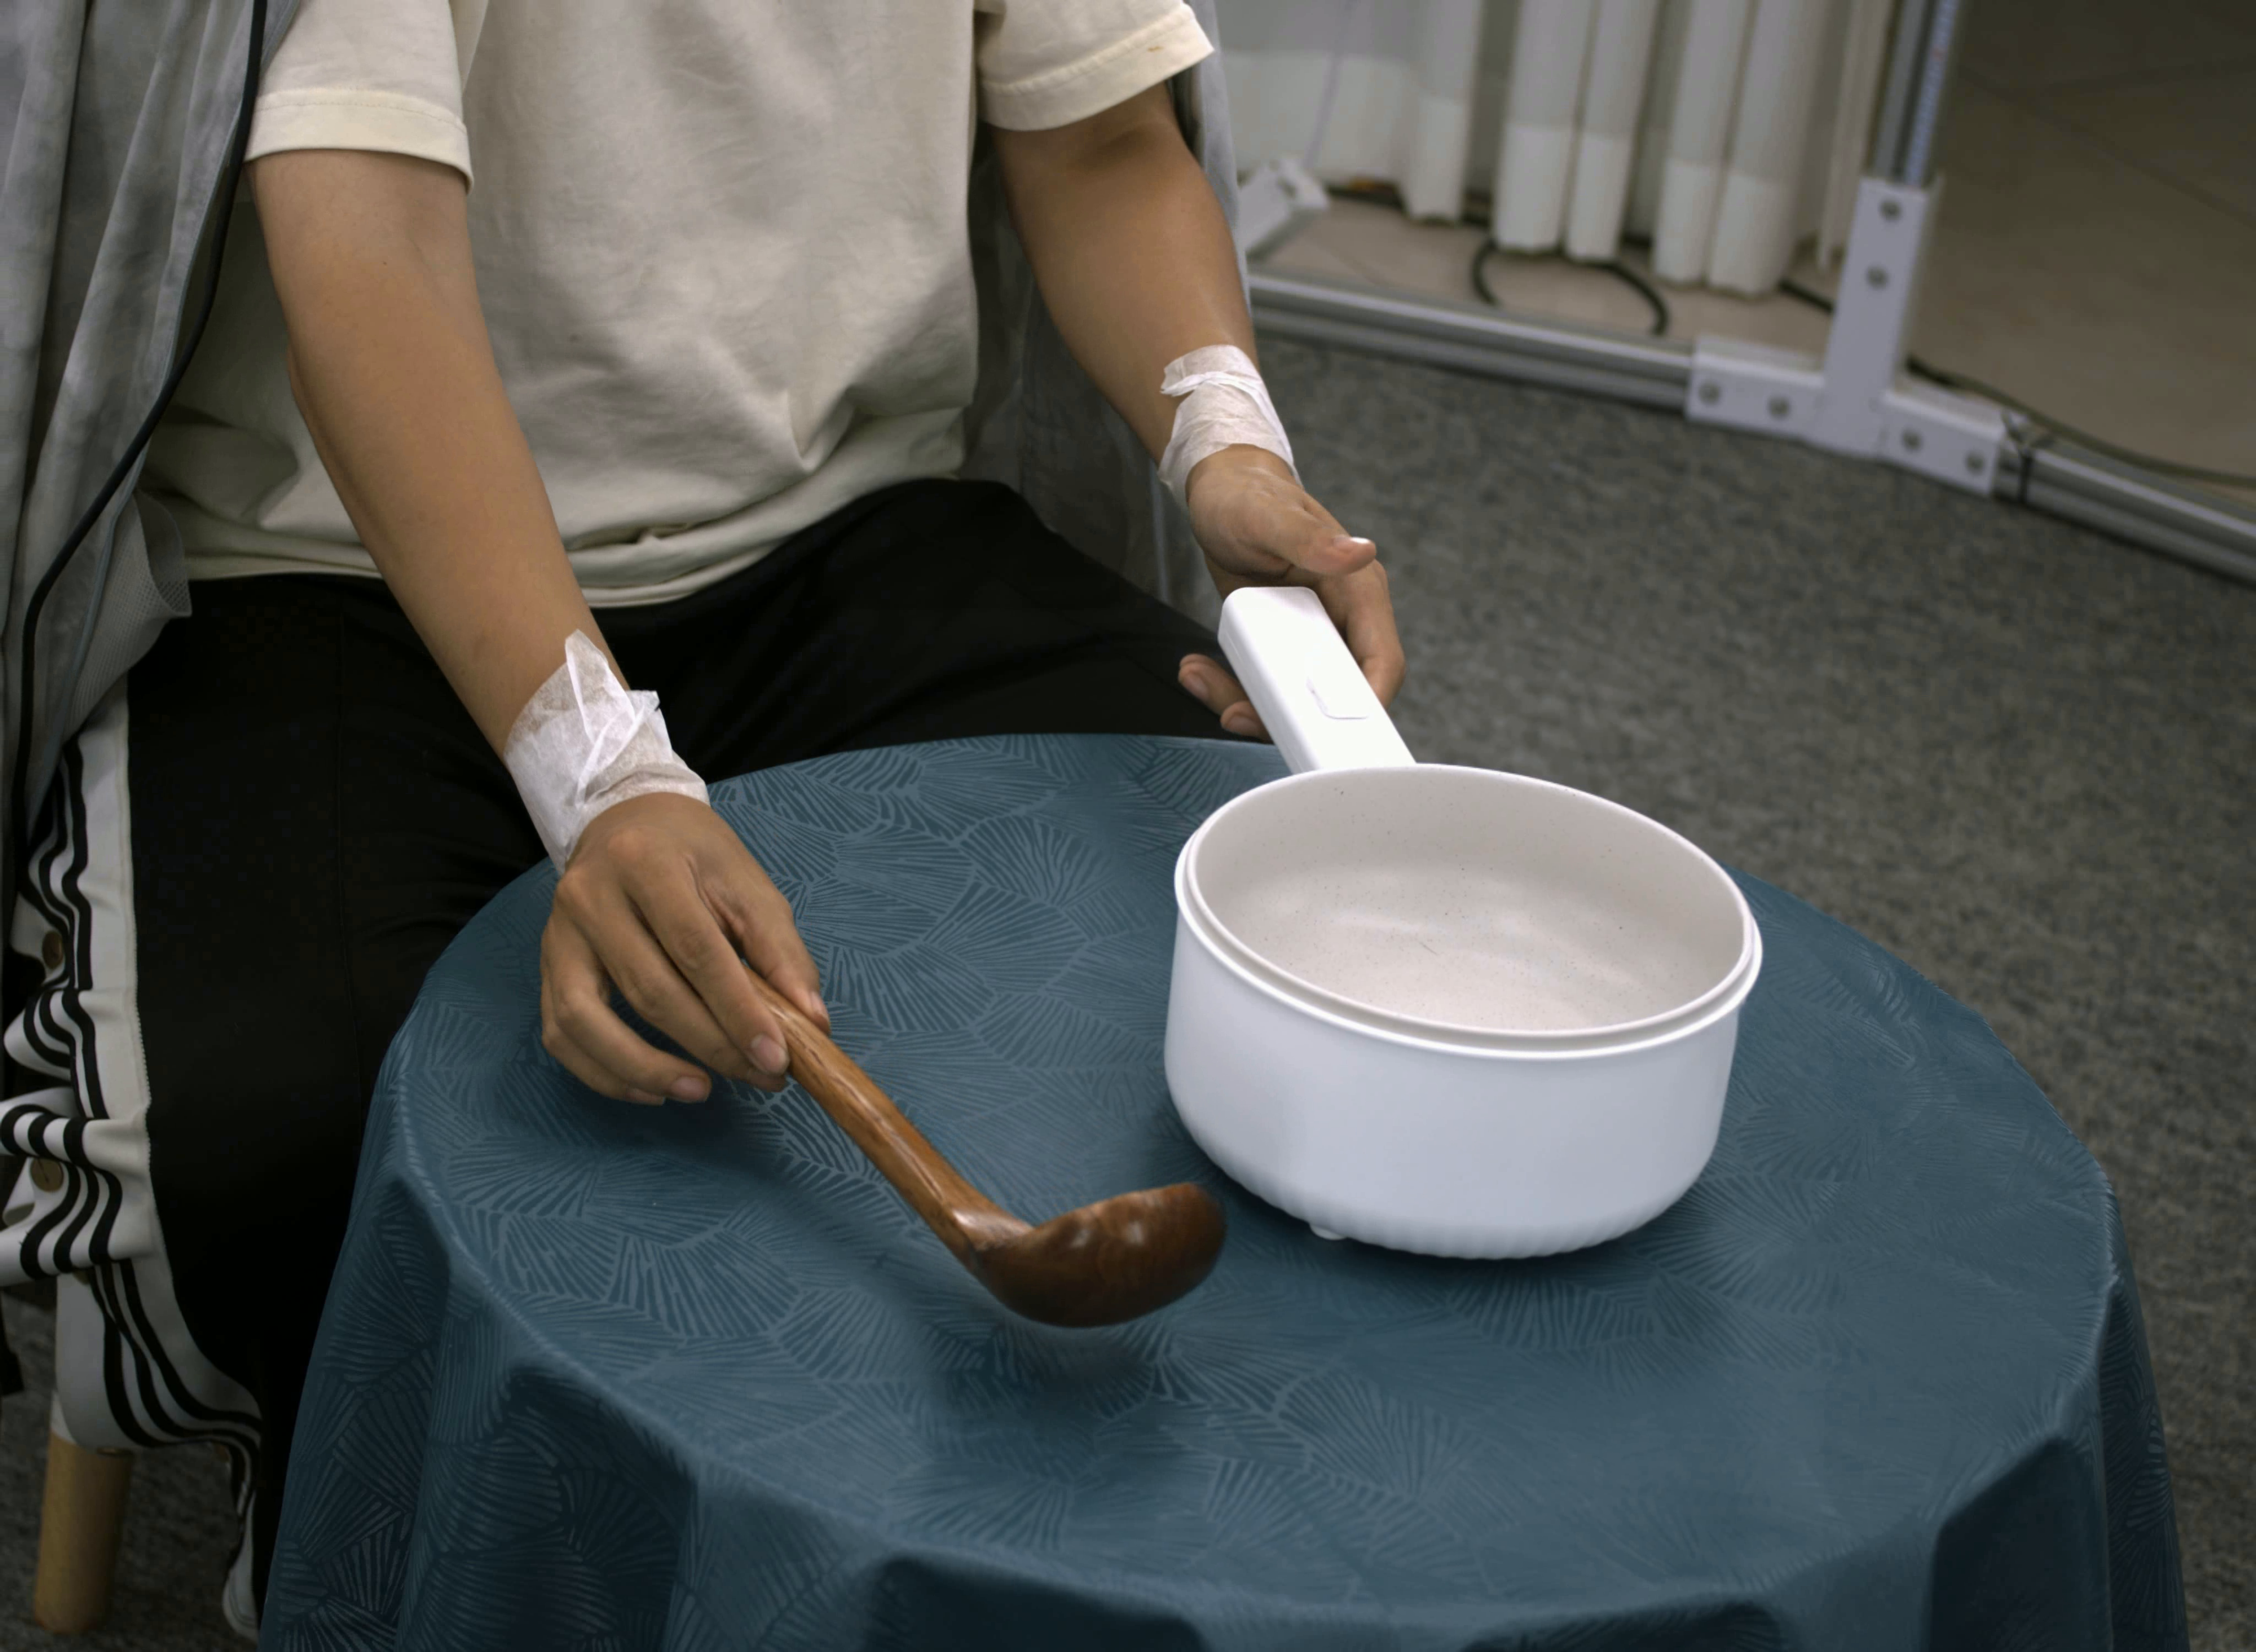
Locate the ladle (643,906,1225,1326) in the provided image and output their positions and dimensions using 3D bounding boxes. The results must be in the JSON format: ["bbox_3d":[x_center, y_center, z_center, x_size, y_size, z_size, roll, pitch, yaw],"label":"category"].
[{"bbox_3d":[-0.071,0.077,1.748,0.081,0.076,0.276,9,26,-46],"label":"ladle"}]

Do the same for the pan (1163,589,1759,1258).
[{"bbox_3d":[0.093,0.032,1.897,0.200,0.102,0.358,-1,27,-14],"label":"pan"}]
